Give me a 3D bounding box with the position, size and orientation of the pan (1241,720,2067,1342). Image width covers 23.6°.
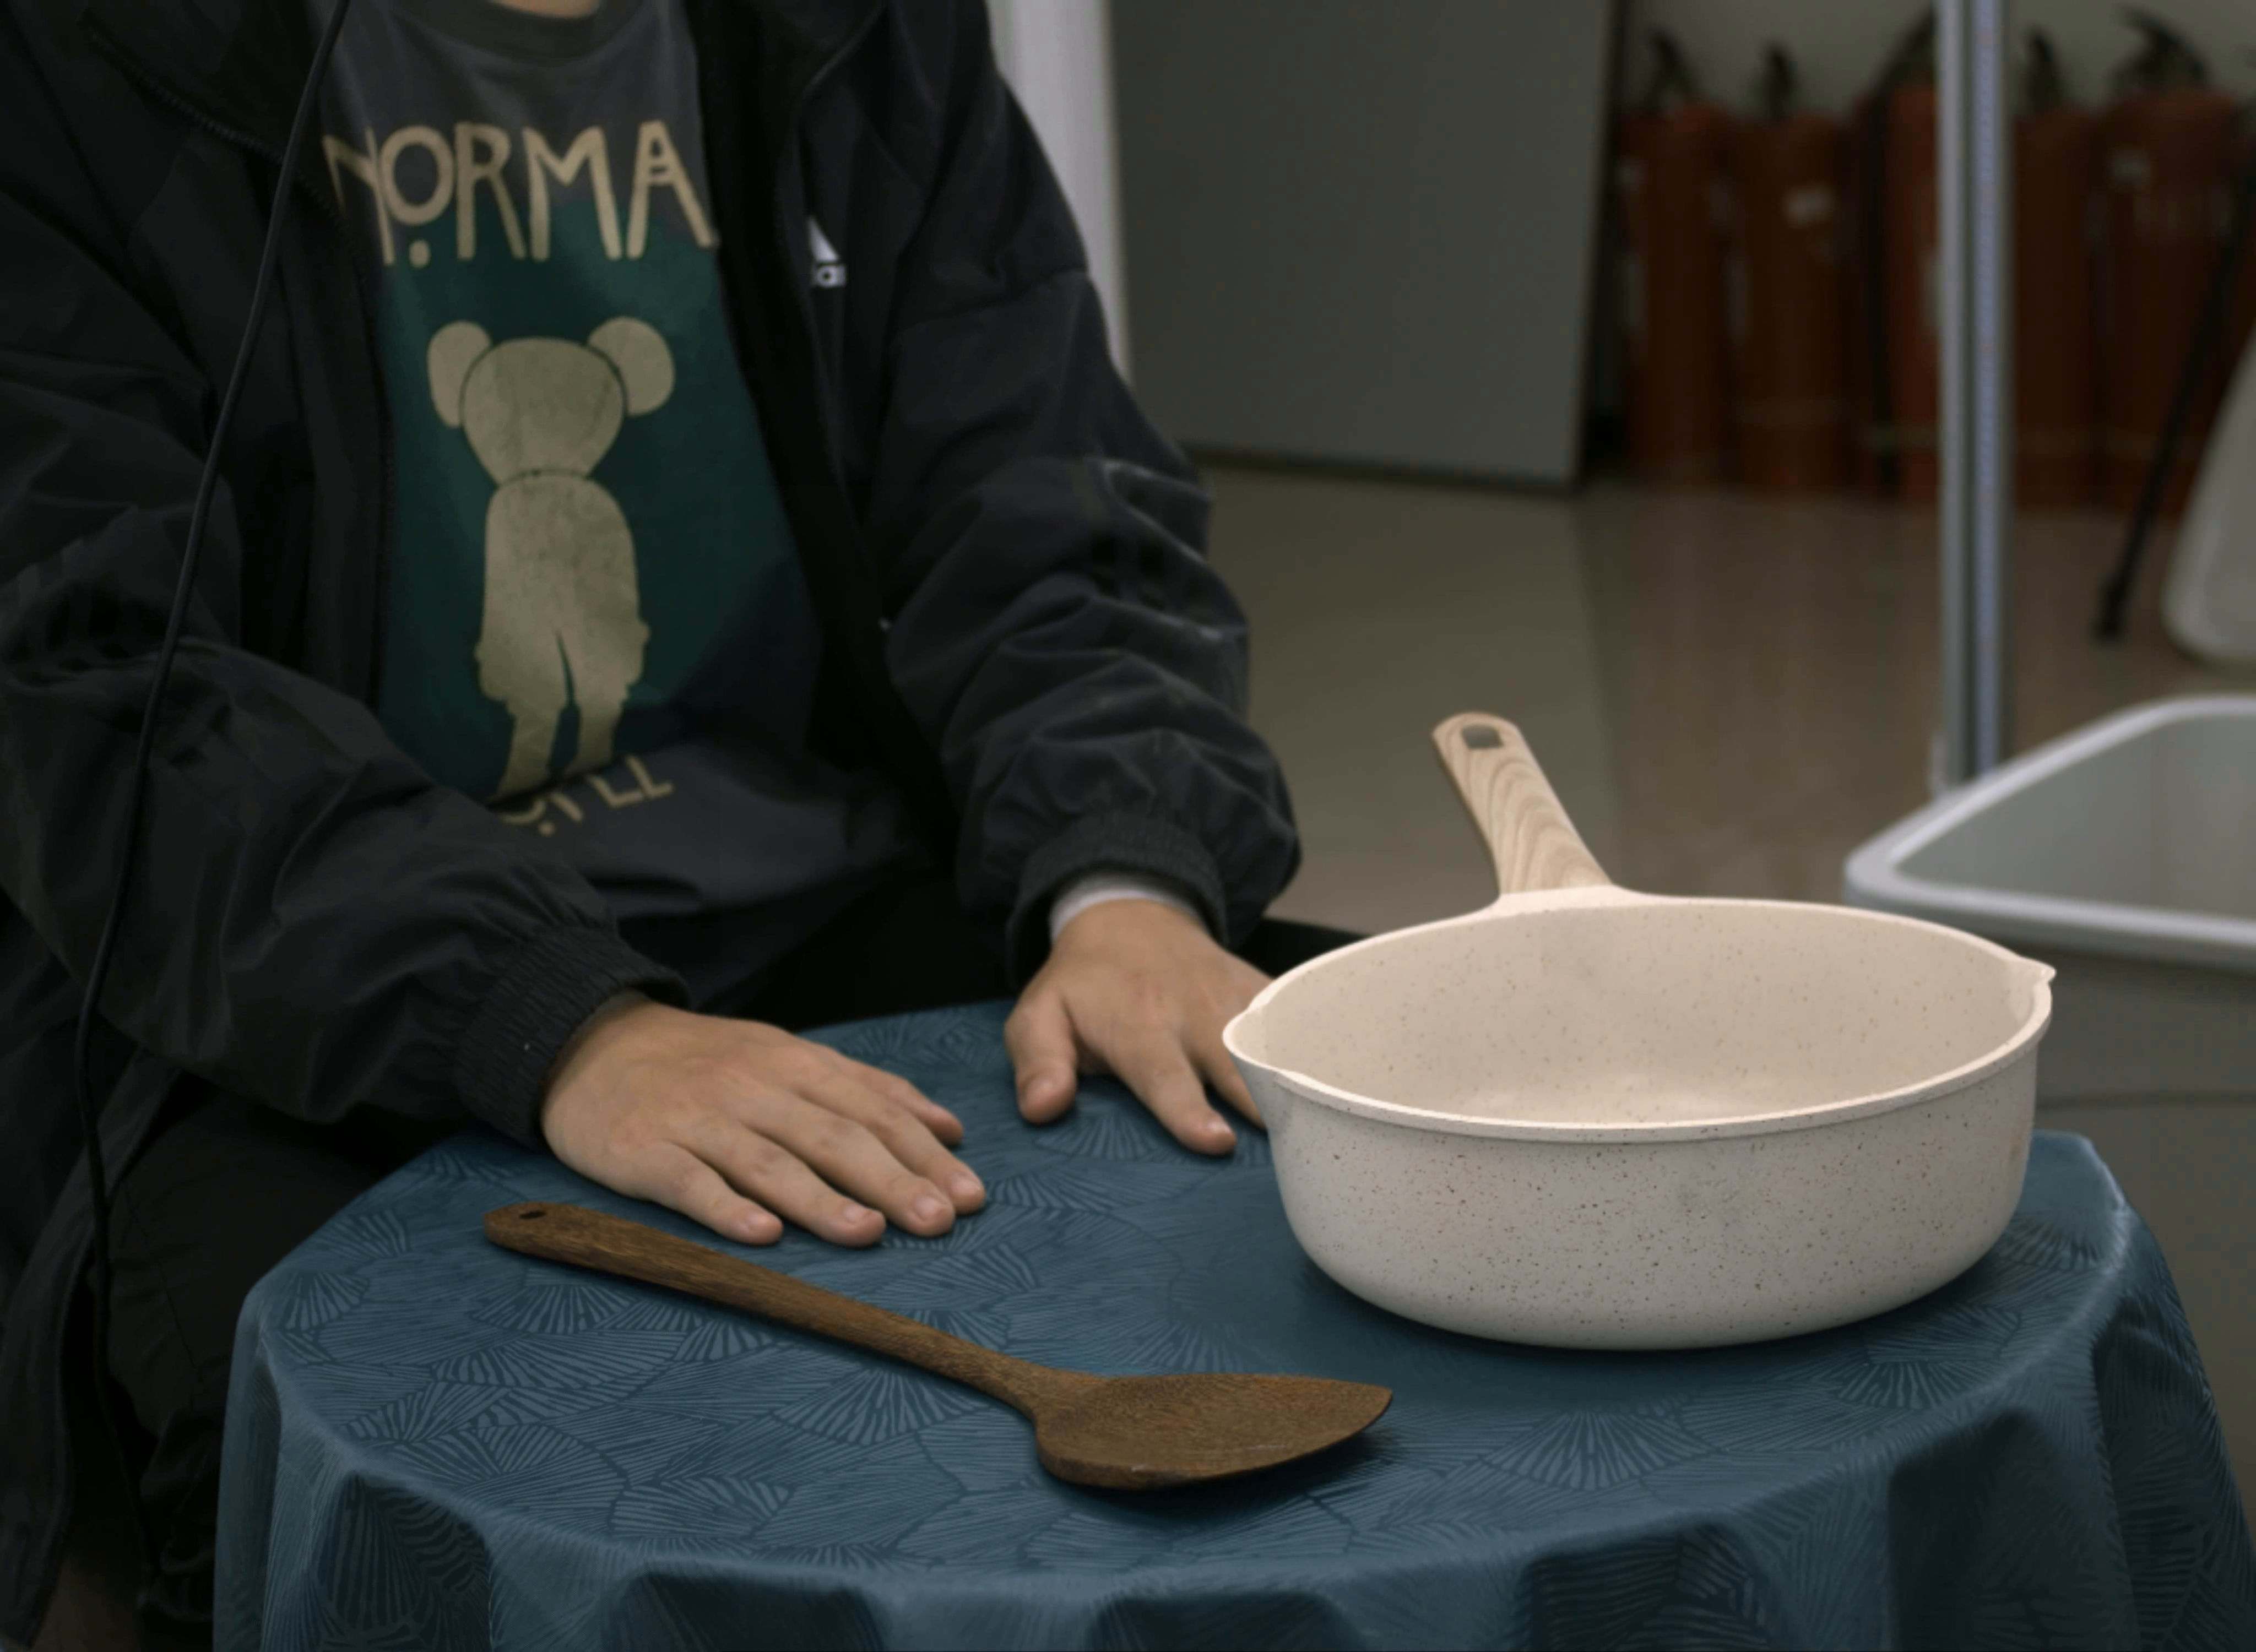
[{"bbox_3d":[0.155,0.061,1.755,0.259,0.103,0.437,-7,14,-5],"label":"pan"}]

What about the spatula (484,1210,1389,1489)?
[{"bbox_3d":[-0.078,0.153,1.636,0.094,0.016,0.390,-15,17,-40],"label":"spatula"}]
